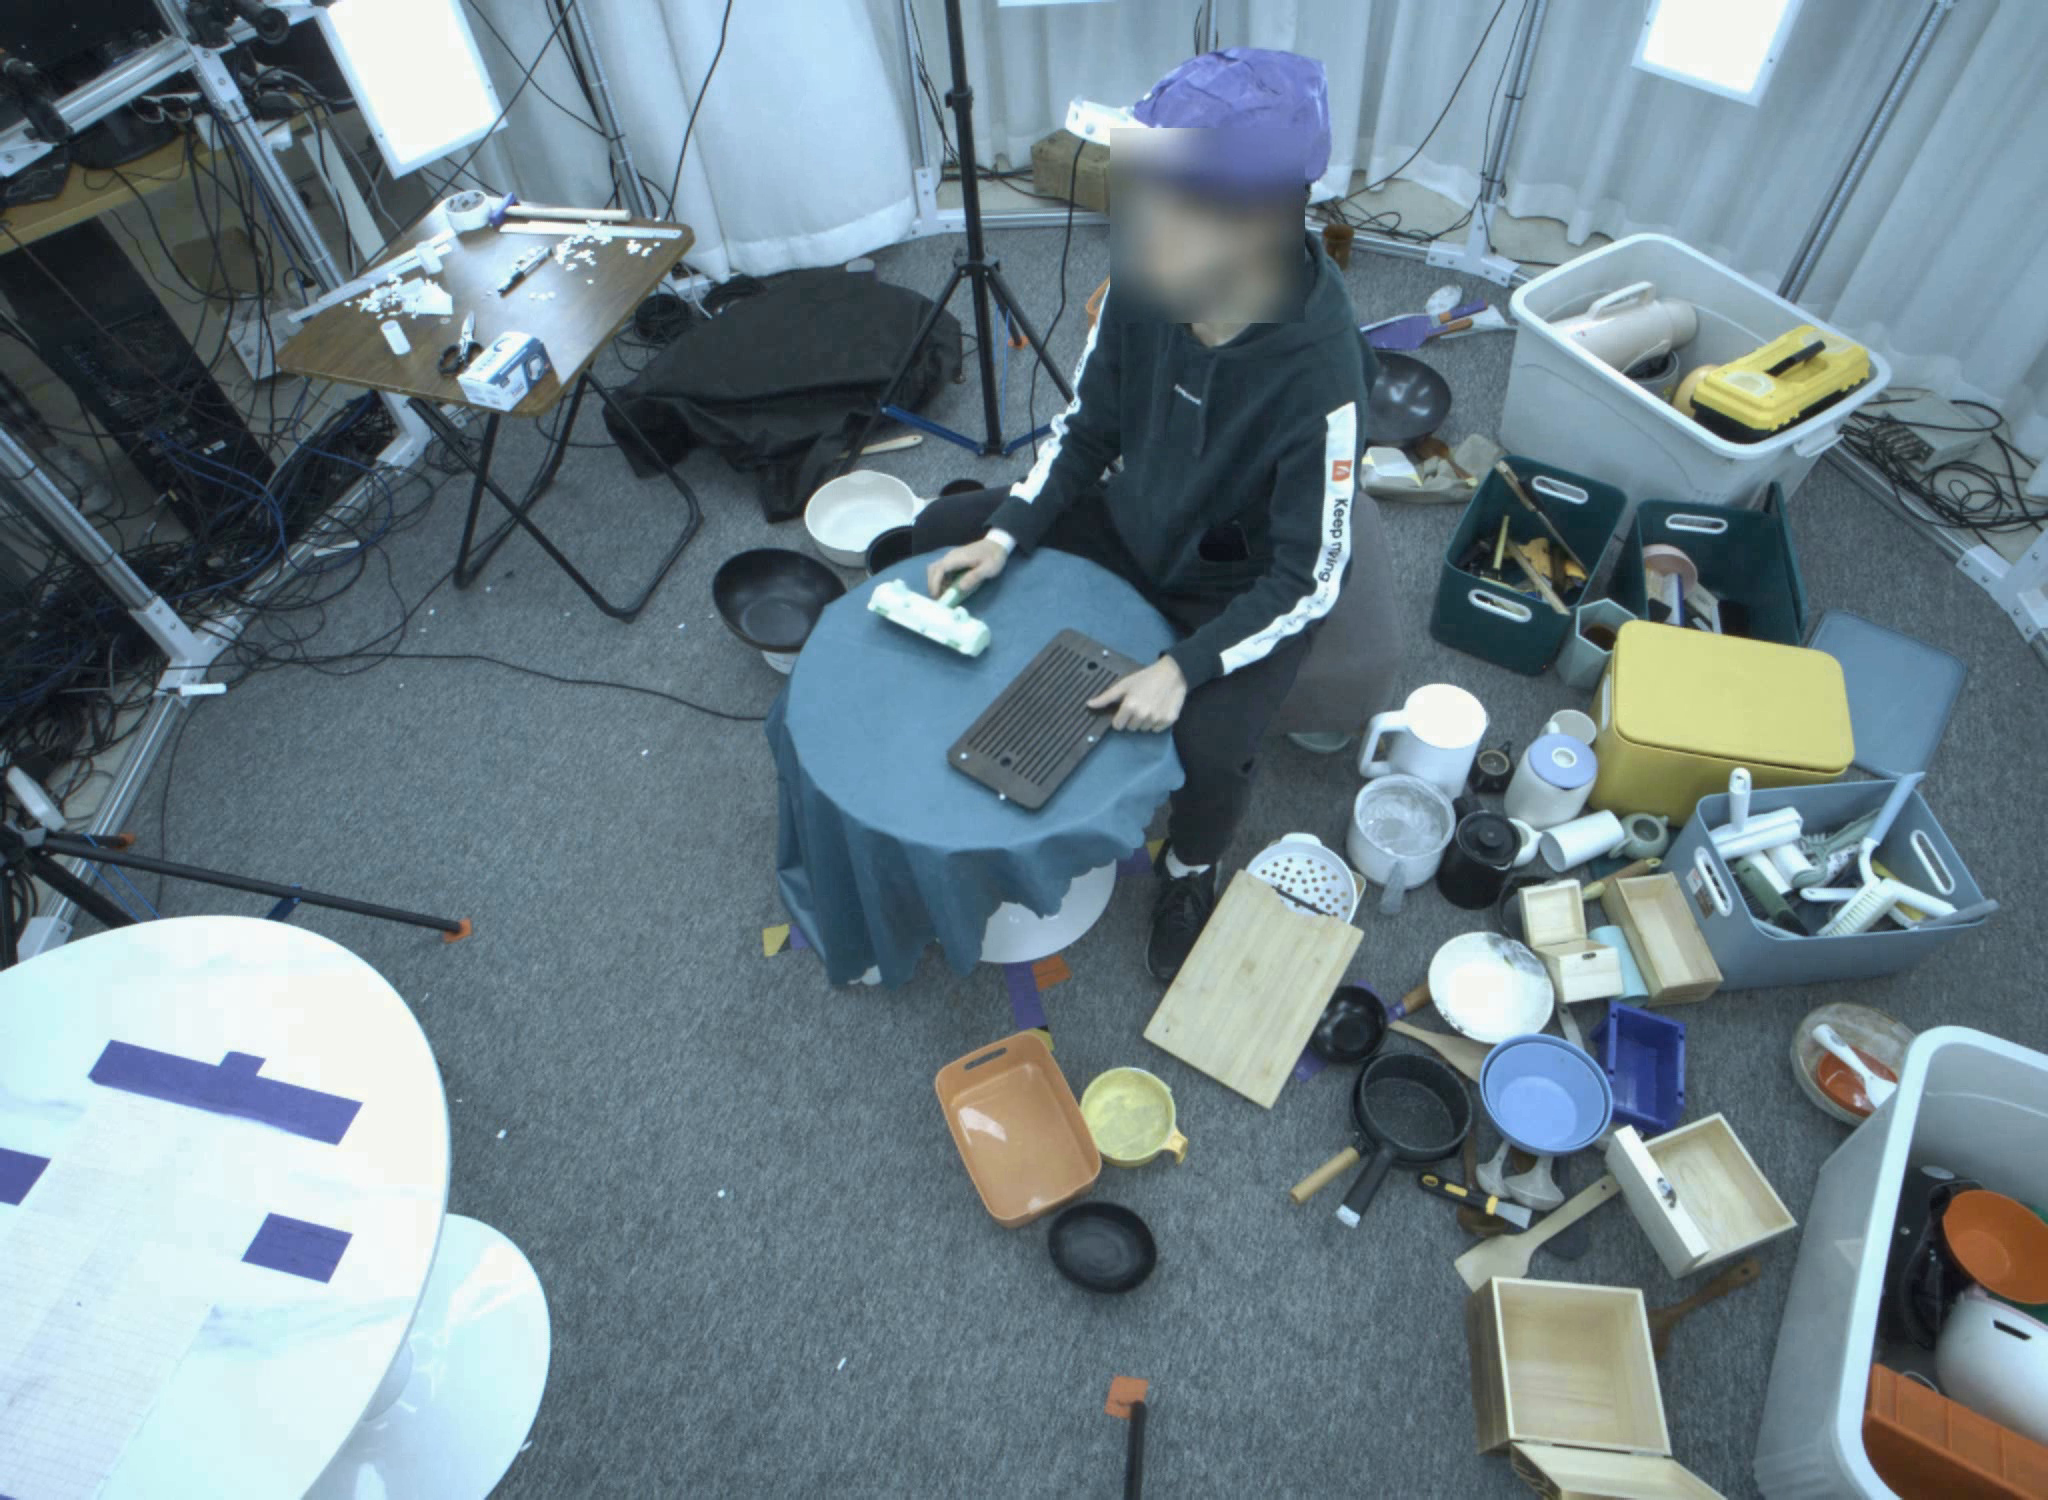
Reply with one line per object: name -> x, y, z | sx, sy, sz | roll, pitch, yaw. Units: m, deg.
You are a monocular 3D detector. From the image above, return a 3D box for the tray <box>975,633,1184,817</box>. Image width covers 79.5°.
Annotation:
tray -> 0.084, -0.041, 1.798 | 0.167, 0.019, 0.307 | 32, 61, 23

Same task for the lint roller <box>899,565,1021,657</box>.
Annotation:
lint roller -> -0.068, -0.246, 1.911 | 0.195, 0.083, 0.184 | 28, 63, 20
